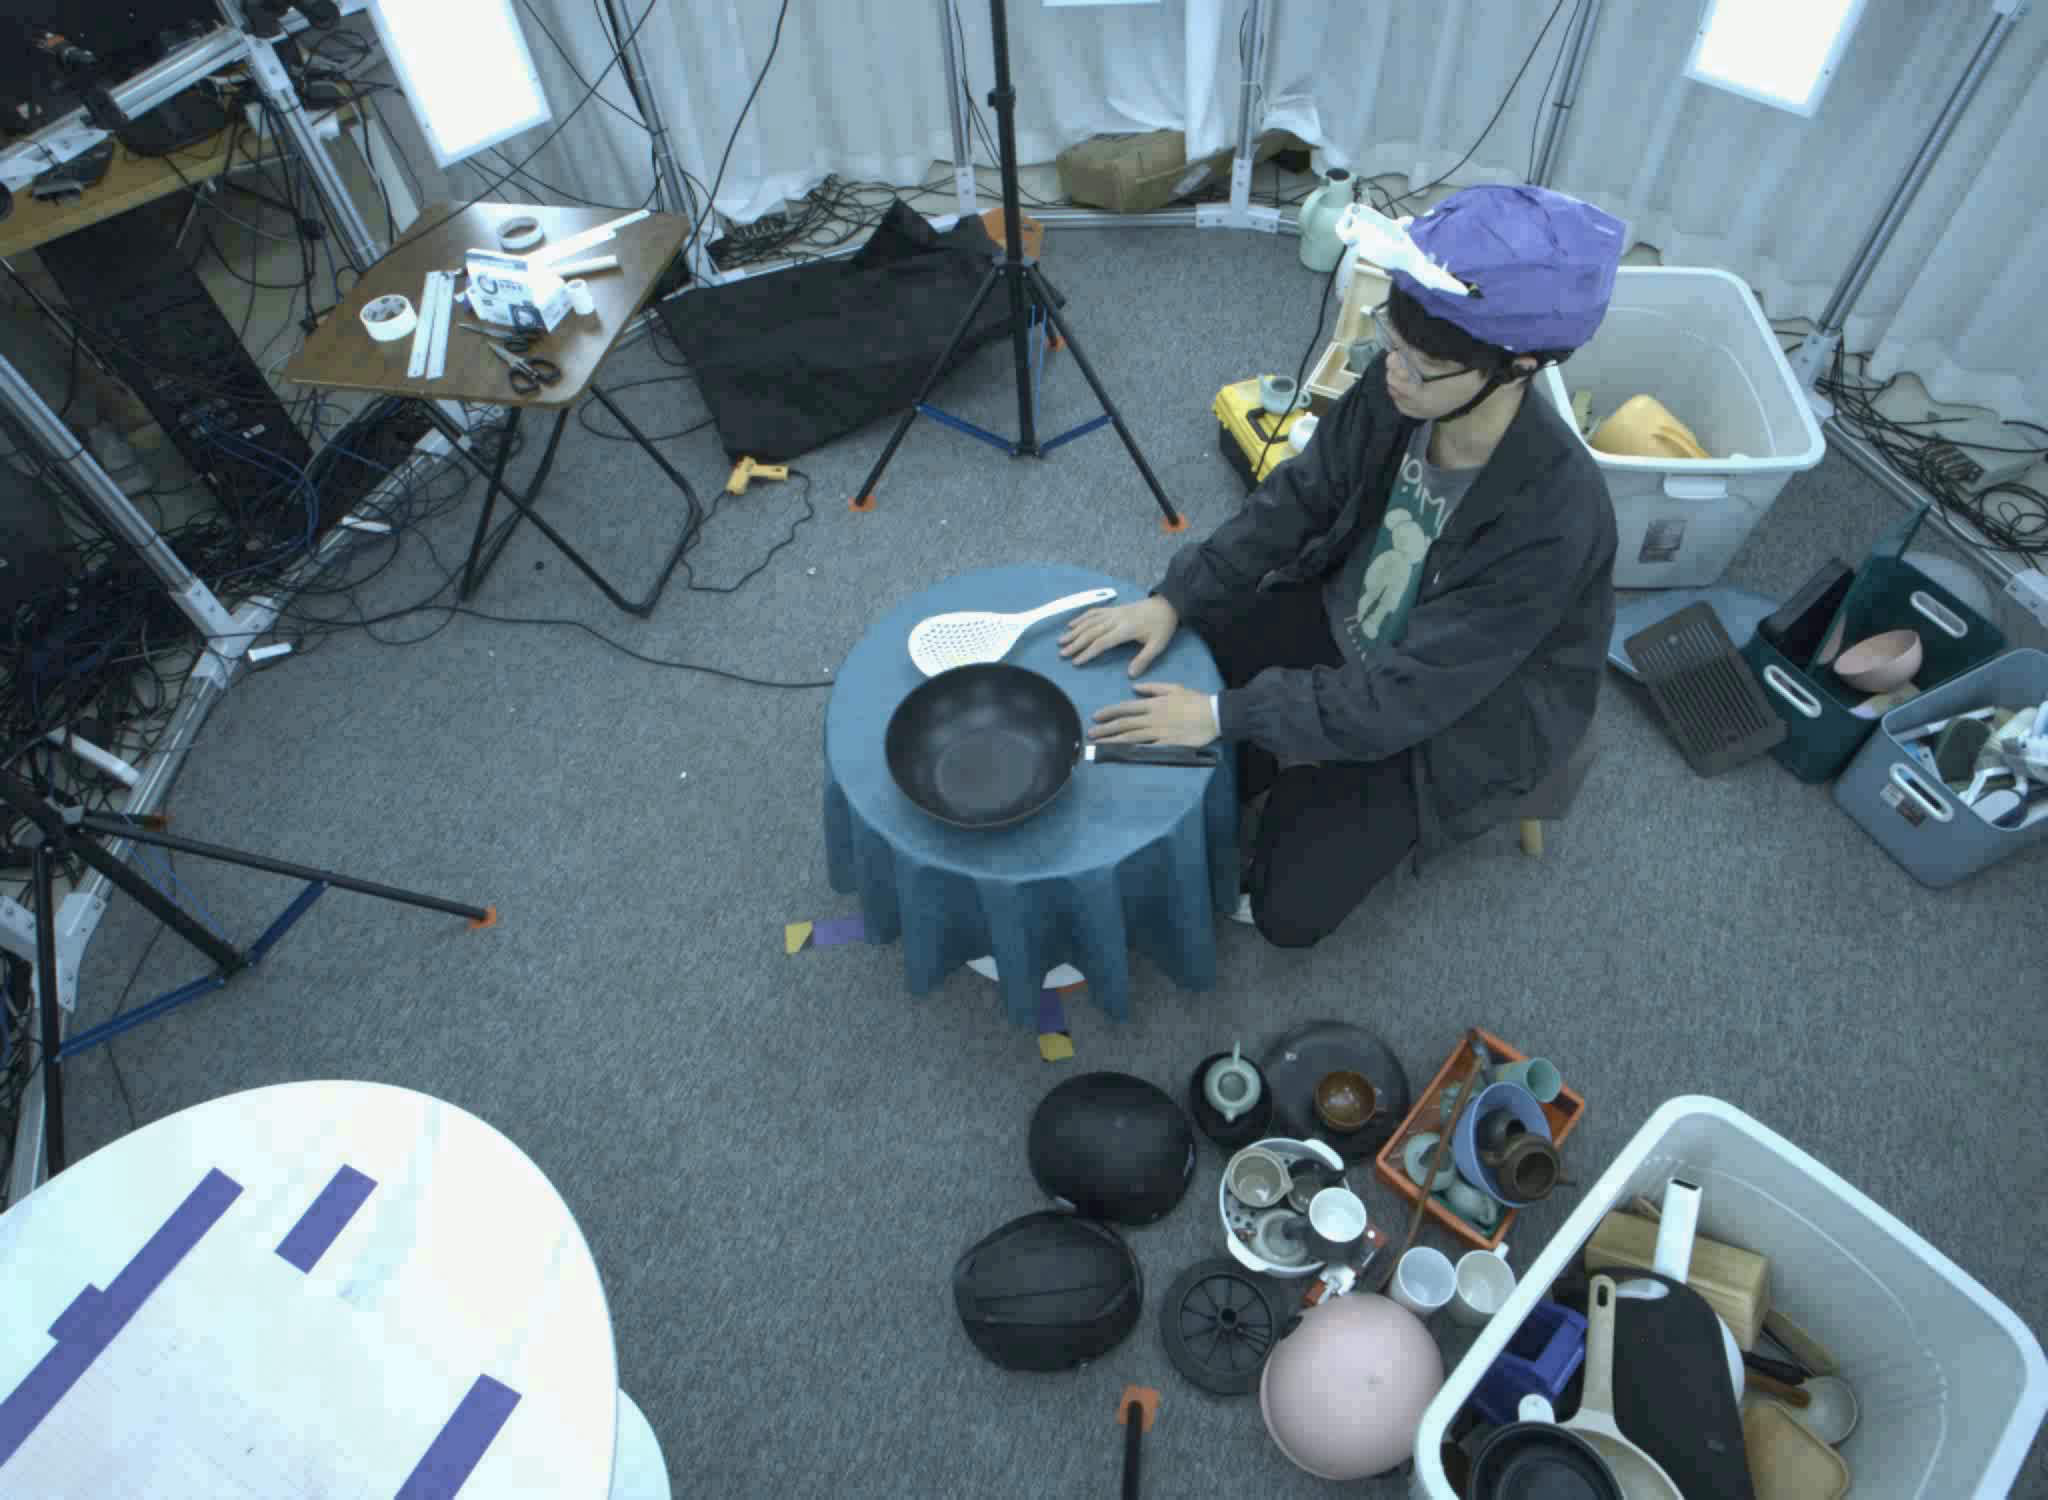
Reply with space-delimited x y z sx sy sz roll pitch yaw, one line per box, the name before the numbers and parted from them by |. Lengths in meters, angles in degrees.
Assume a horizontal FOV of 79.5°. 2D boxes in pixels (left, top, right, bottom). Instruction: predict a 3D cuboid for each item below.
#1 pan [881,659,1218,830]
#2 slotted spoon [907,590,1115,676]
pan | 0.035 0.013 1.718 0.462 0.088 0.286 5 55 4
slotted spoon | -0.010 -0.191 1.891 0.350 0.051 0.134 -24 55 -15
